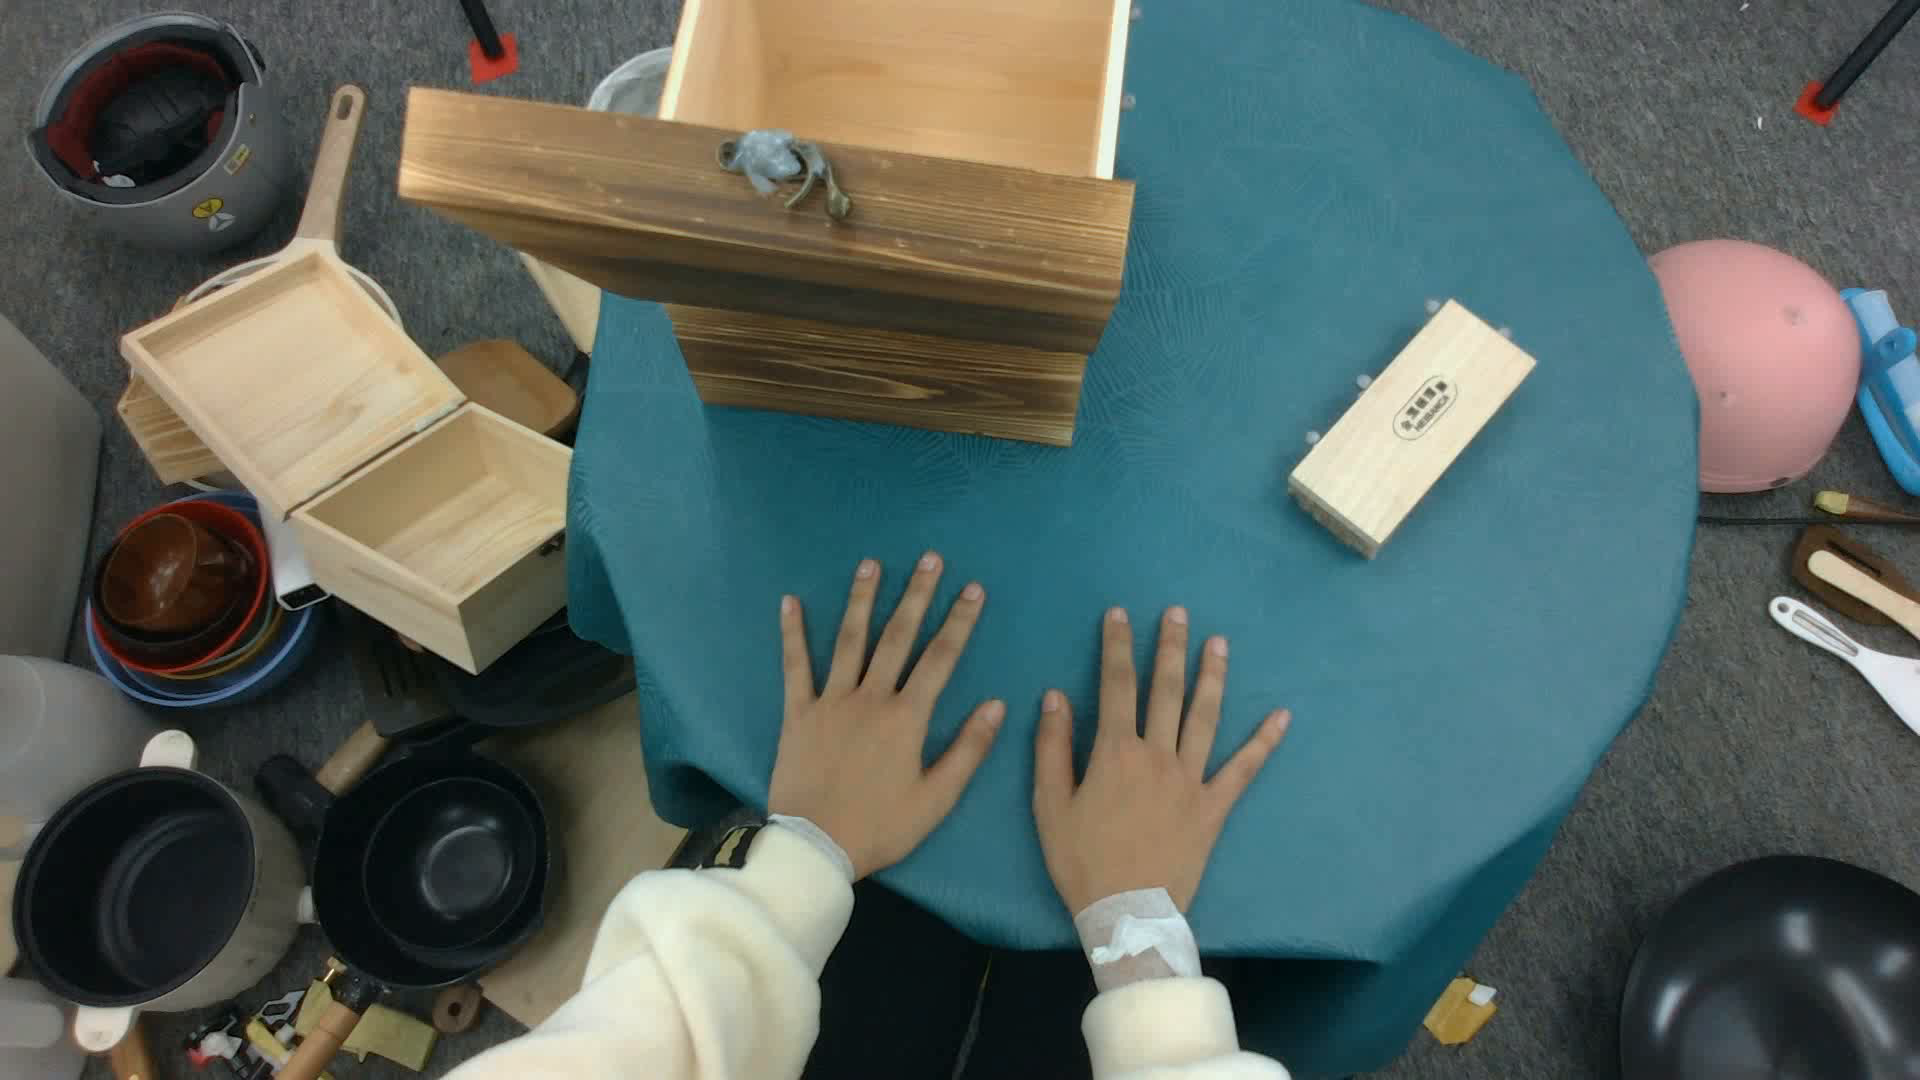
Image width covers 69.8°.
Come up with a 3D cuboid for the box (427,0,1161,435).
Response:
[{"bbox_3d":[-0.039,-0.179,0.586,0.209,0.374,0.323,6,68,1],"label":"box"}]

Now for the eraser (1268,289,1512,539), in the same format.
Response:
[{"bbox_3d":[0.225,-0.067,0.726,0.057,0.029,0.140,41,74,12],"label":"eraser"}]
